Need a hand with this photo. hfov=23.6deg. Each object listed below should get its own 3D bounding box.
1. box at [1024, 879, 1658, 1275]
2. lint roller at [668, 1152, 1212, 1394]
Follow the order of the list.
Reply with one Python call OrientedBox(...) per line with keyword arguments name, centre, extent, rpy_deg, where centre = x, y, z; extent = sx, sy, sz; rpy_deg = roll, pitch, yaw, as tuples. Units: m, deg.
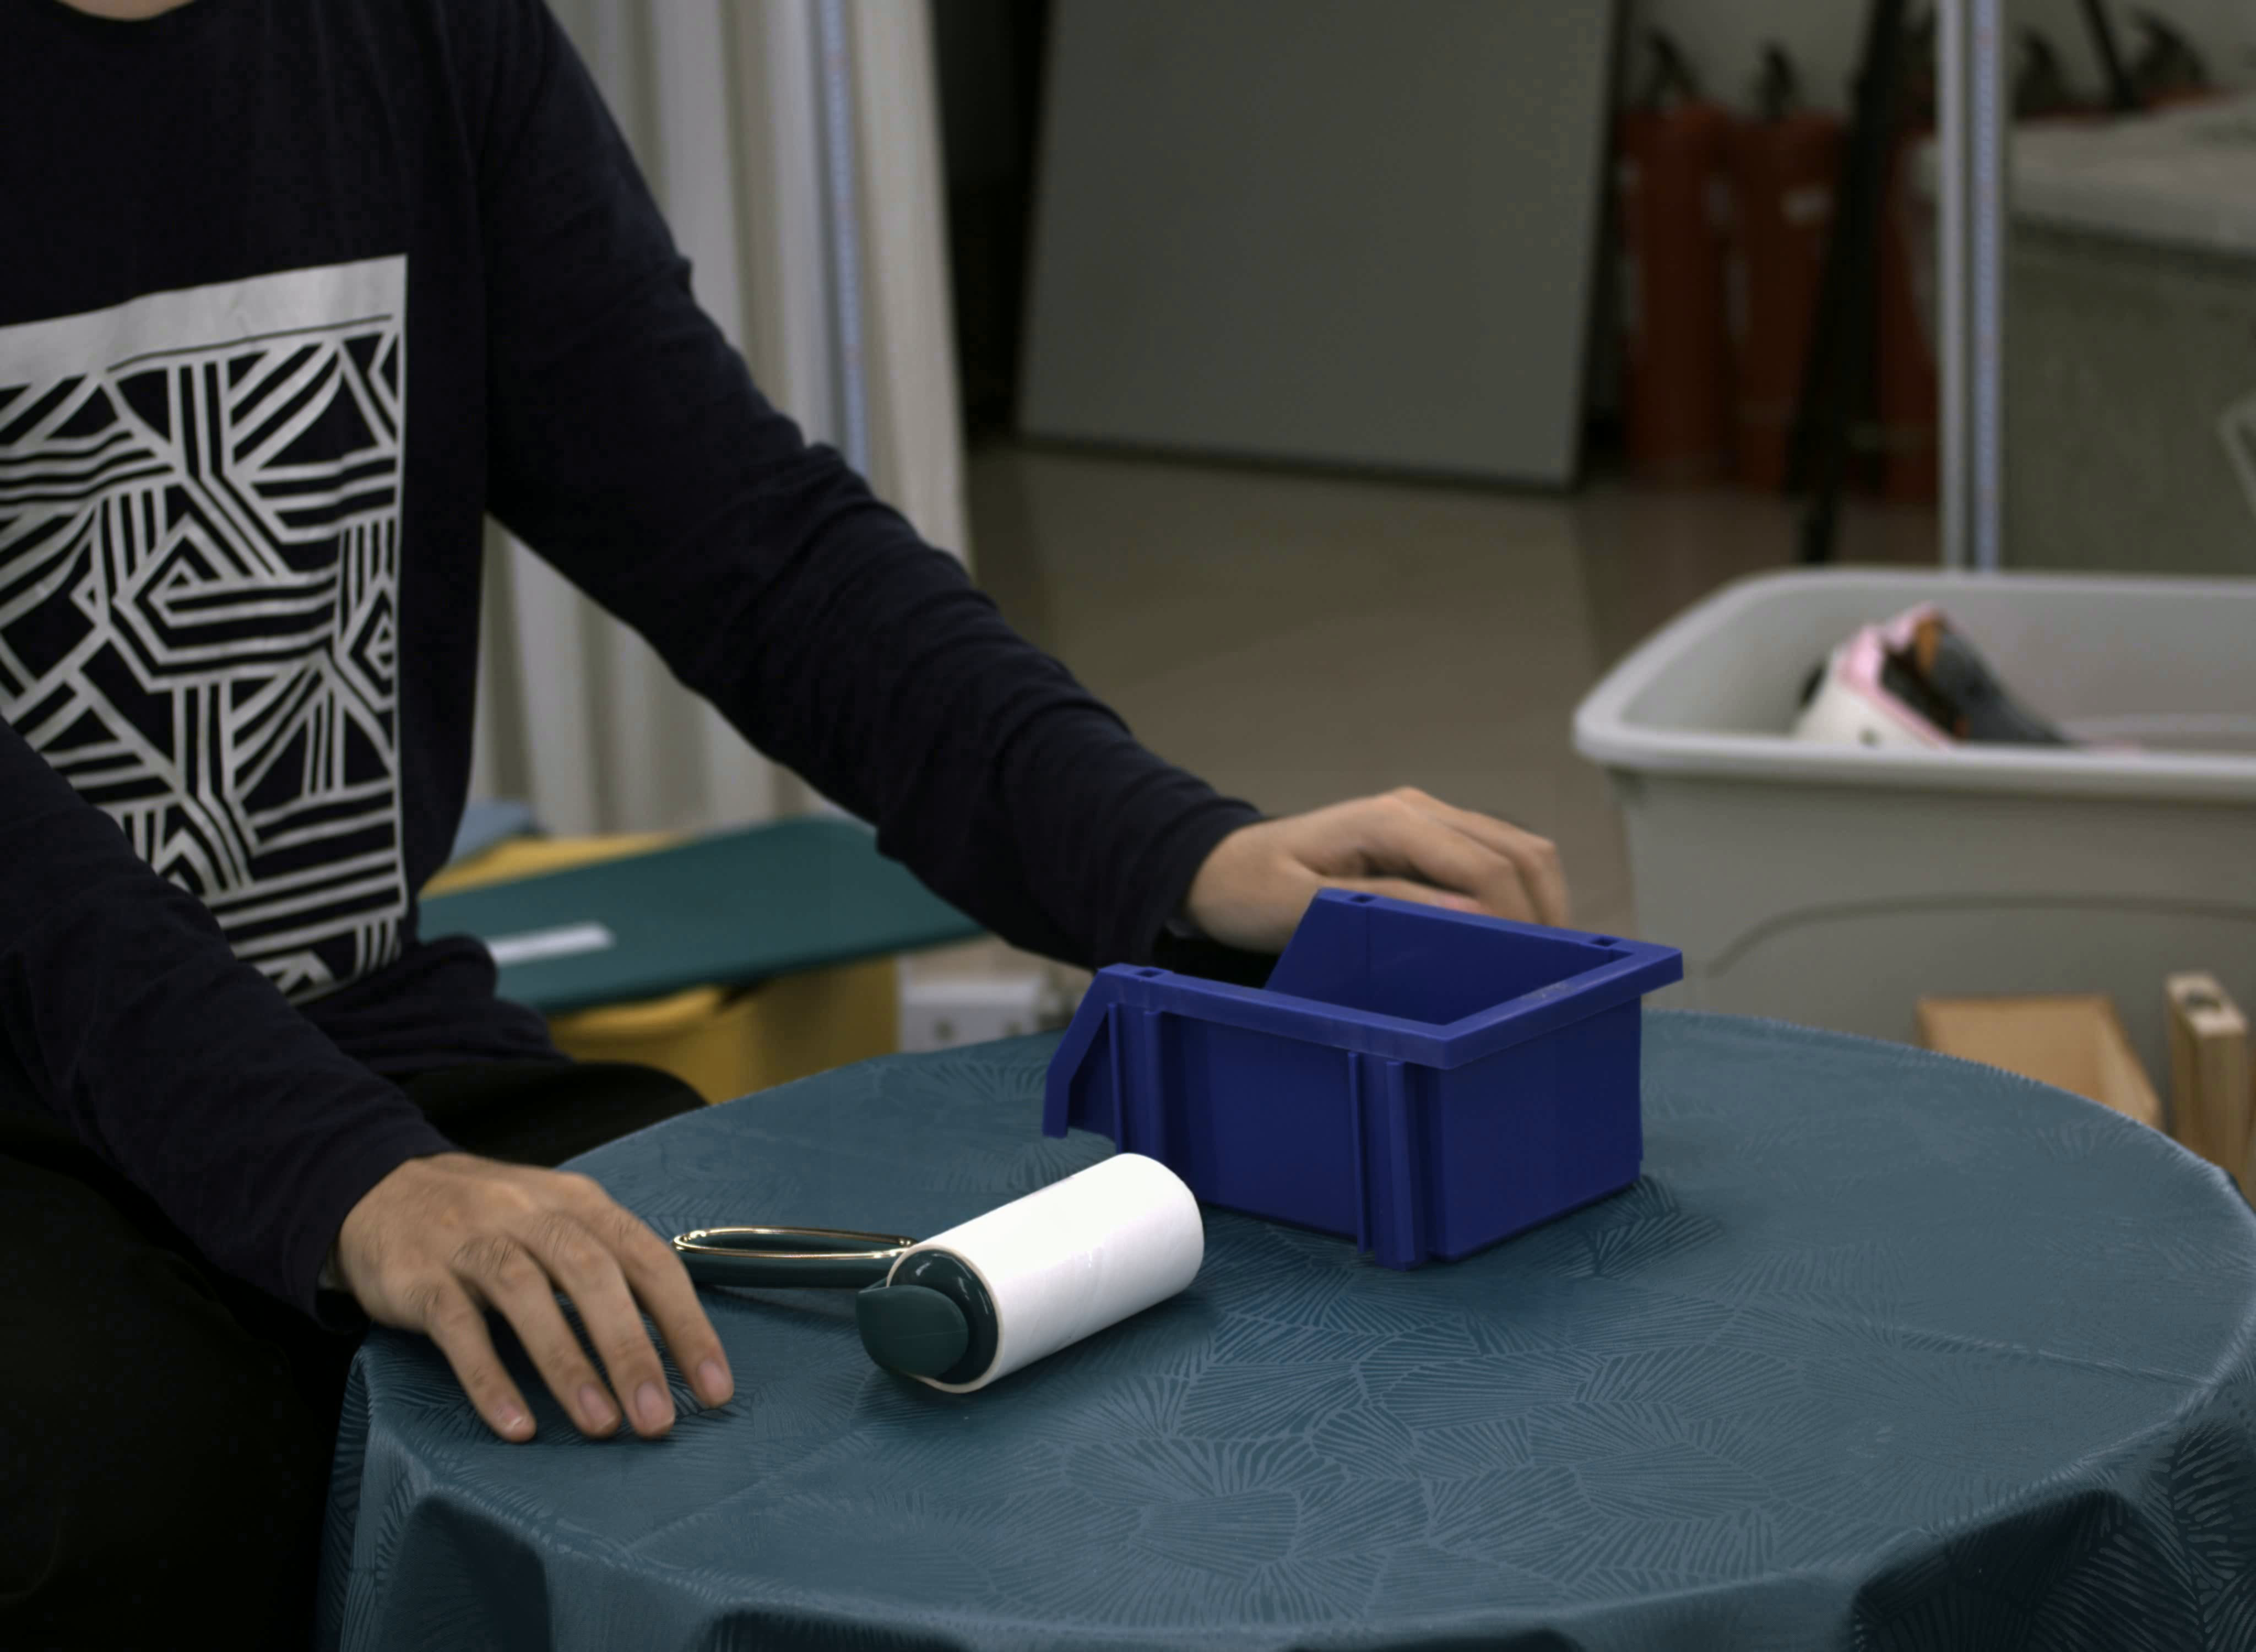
OrientedBox(name="box", centre=(0.067, 0.078, 1.758), extent=(0.122, 0.083, 0.181), rpy_deg=(-17, 21, -41))
OrientedBox(name="lint roller", centre=(-0.076, 0.133, 1.669), extent=(0.181, 0.049, 0.132), rpy_deg=(1, 14, 40))
